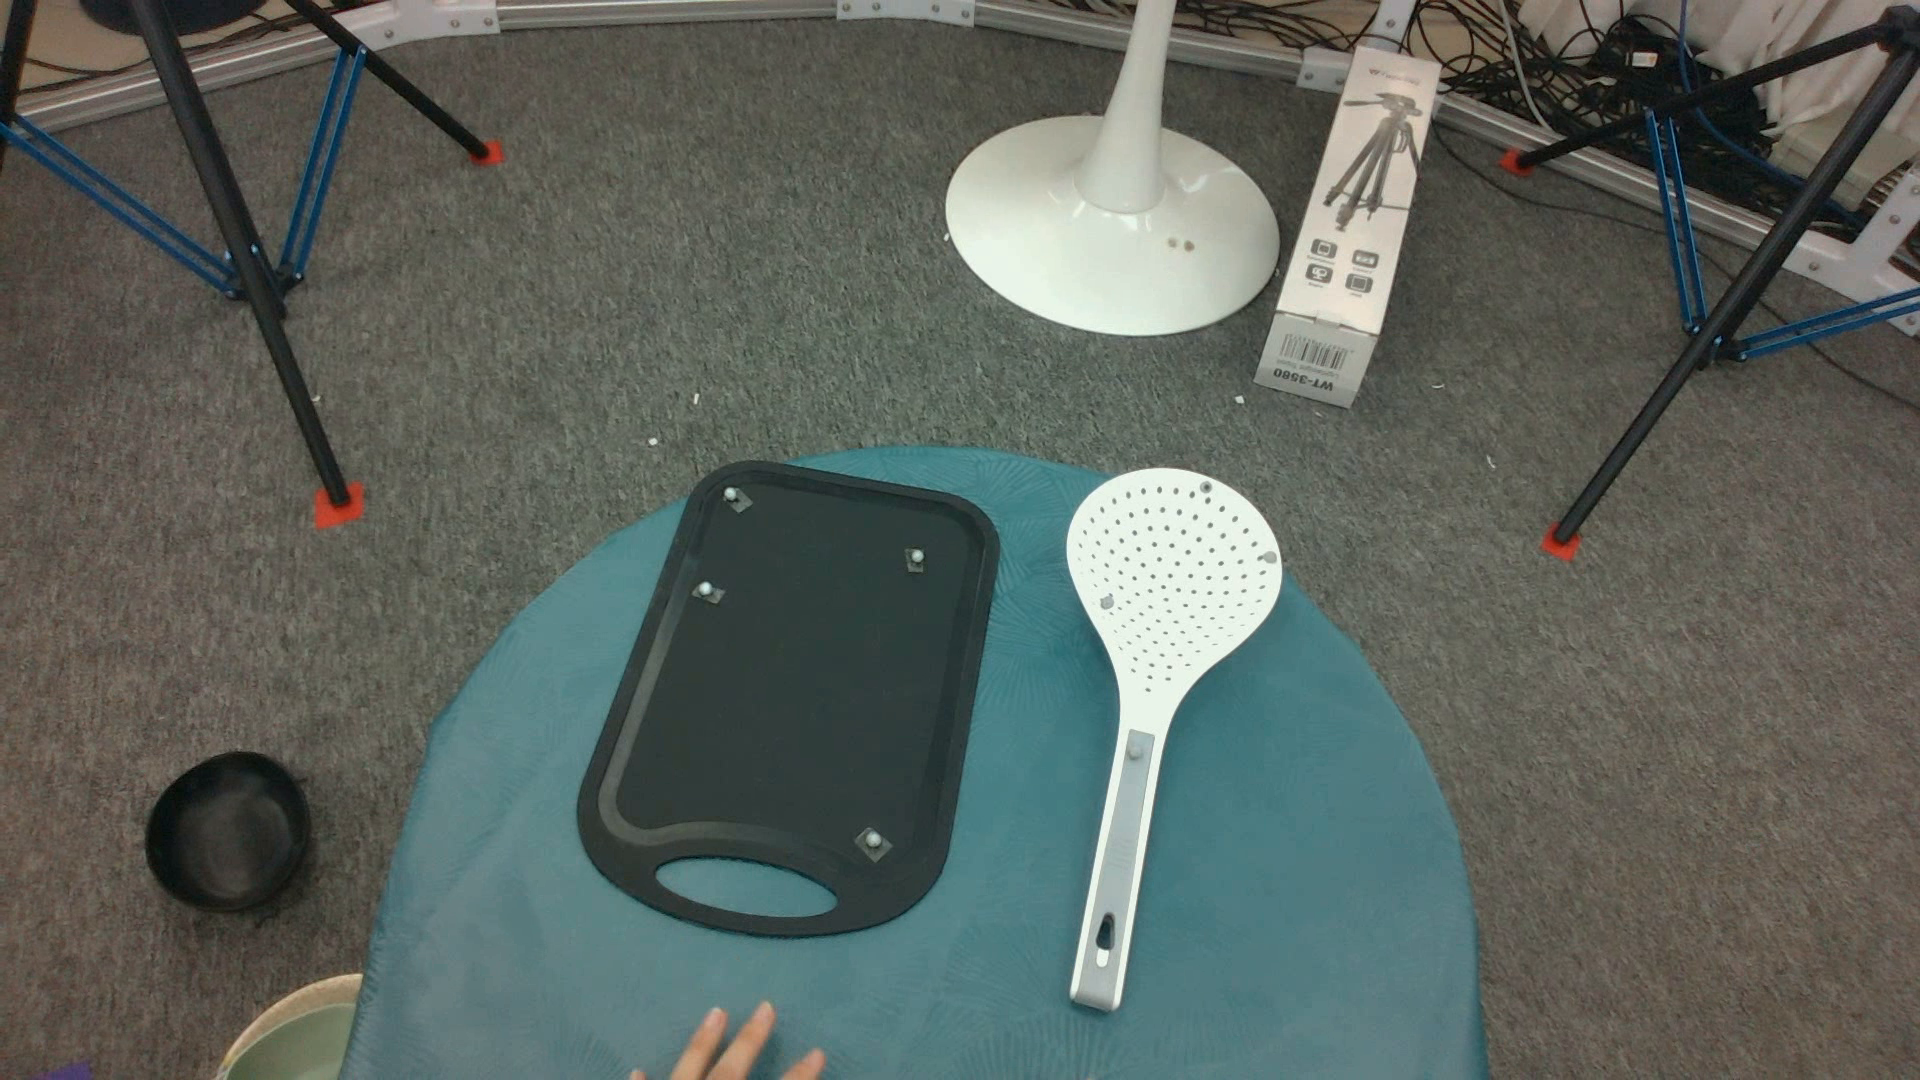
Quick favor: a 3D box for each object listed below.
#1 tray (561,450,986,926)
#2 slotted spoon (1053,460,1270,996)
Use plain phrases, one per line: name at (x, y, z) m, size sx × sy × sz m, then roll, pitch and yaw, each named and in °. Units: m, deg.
tray at (-0.103, 0.075, 0.830) m, size 0.211 × 0.010 × 0.327 m, roll 10°, pitch 52°, yaw 1°
slotted spoon at (0.103, 0.096, 0.815) m, size 0.136 × 0.045 × 0.351 m, roll 13°, pitch 52°, yaw 5°
